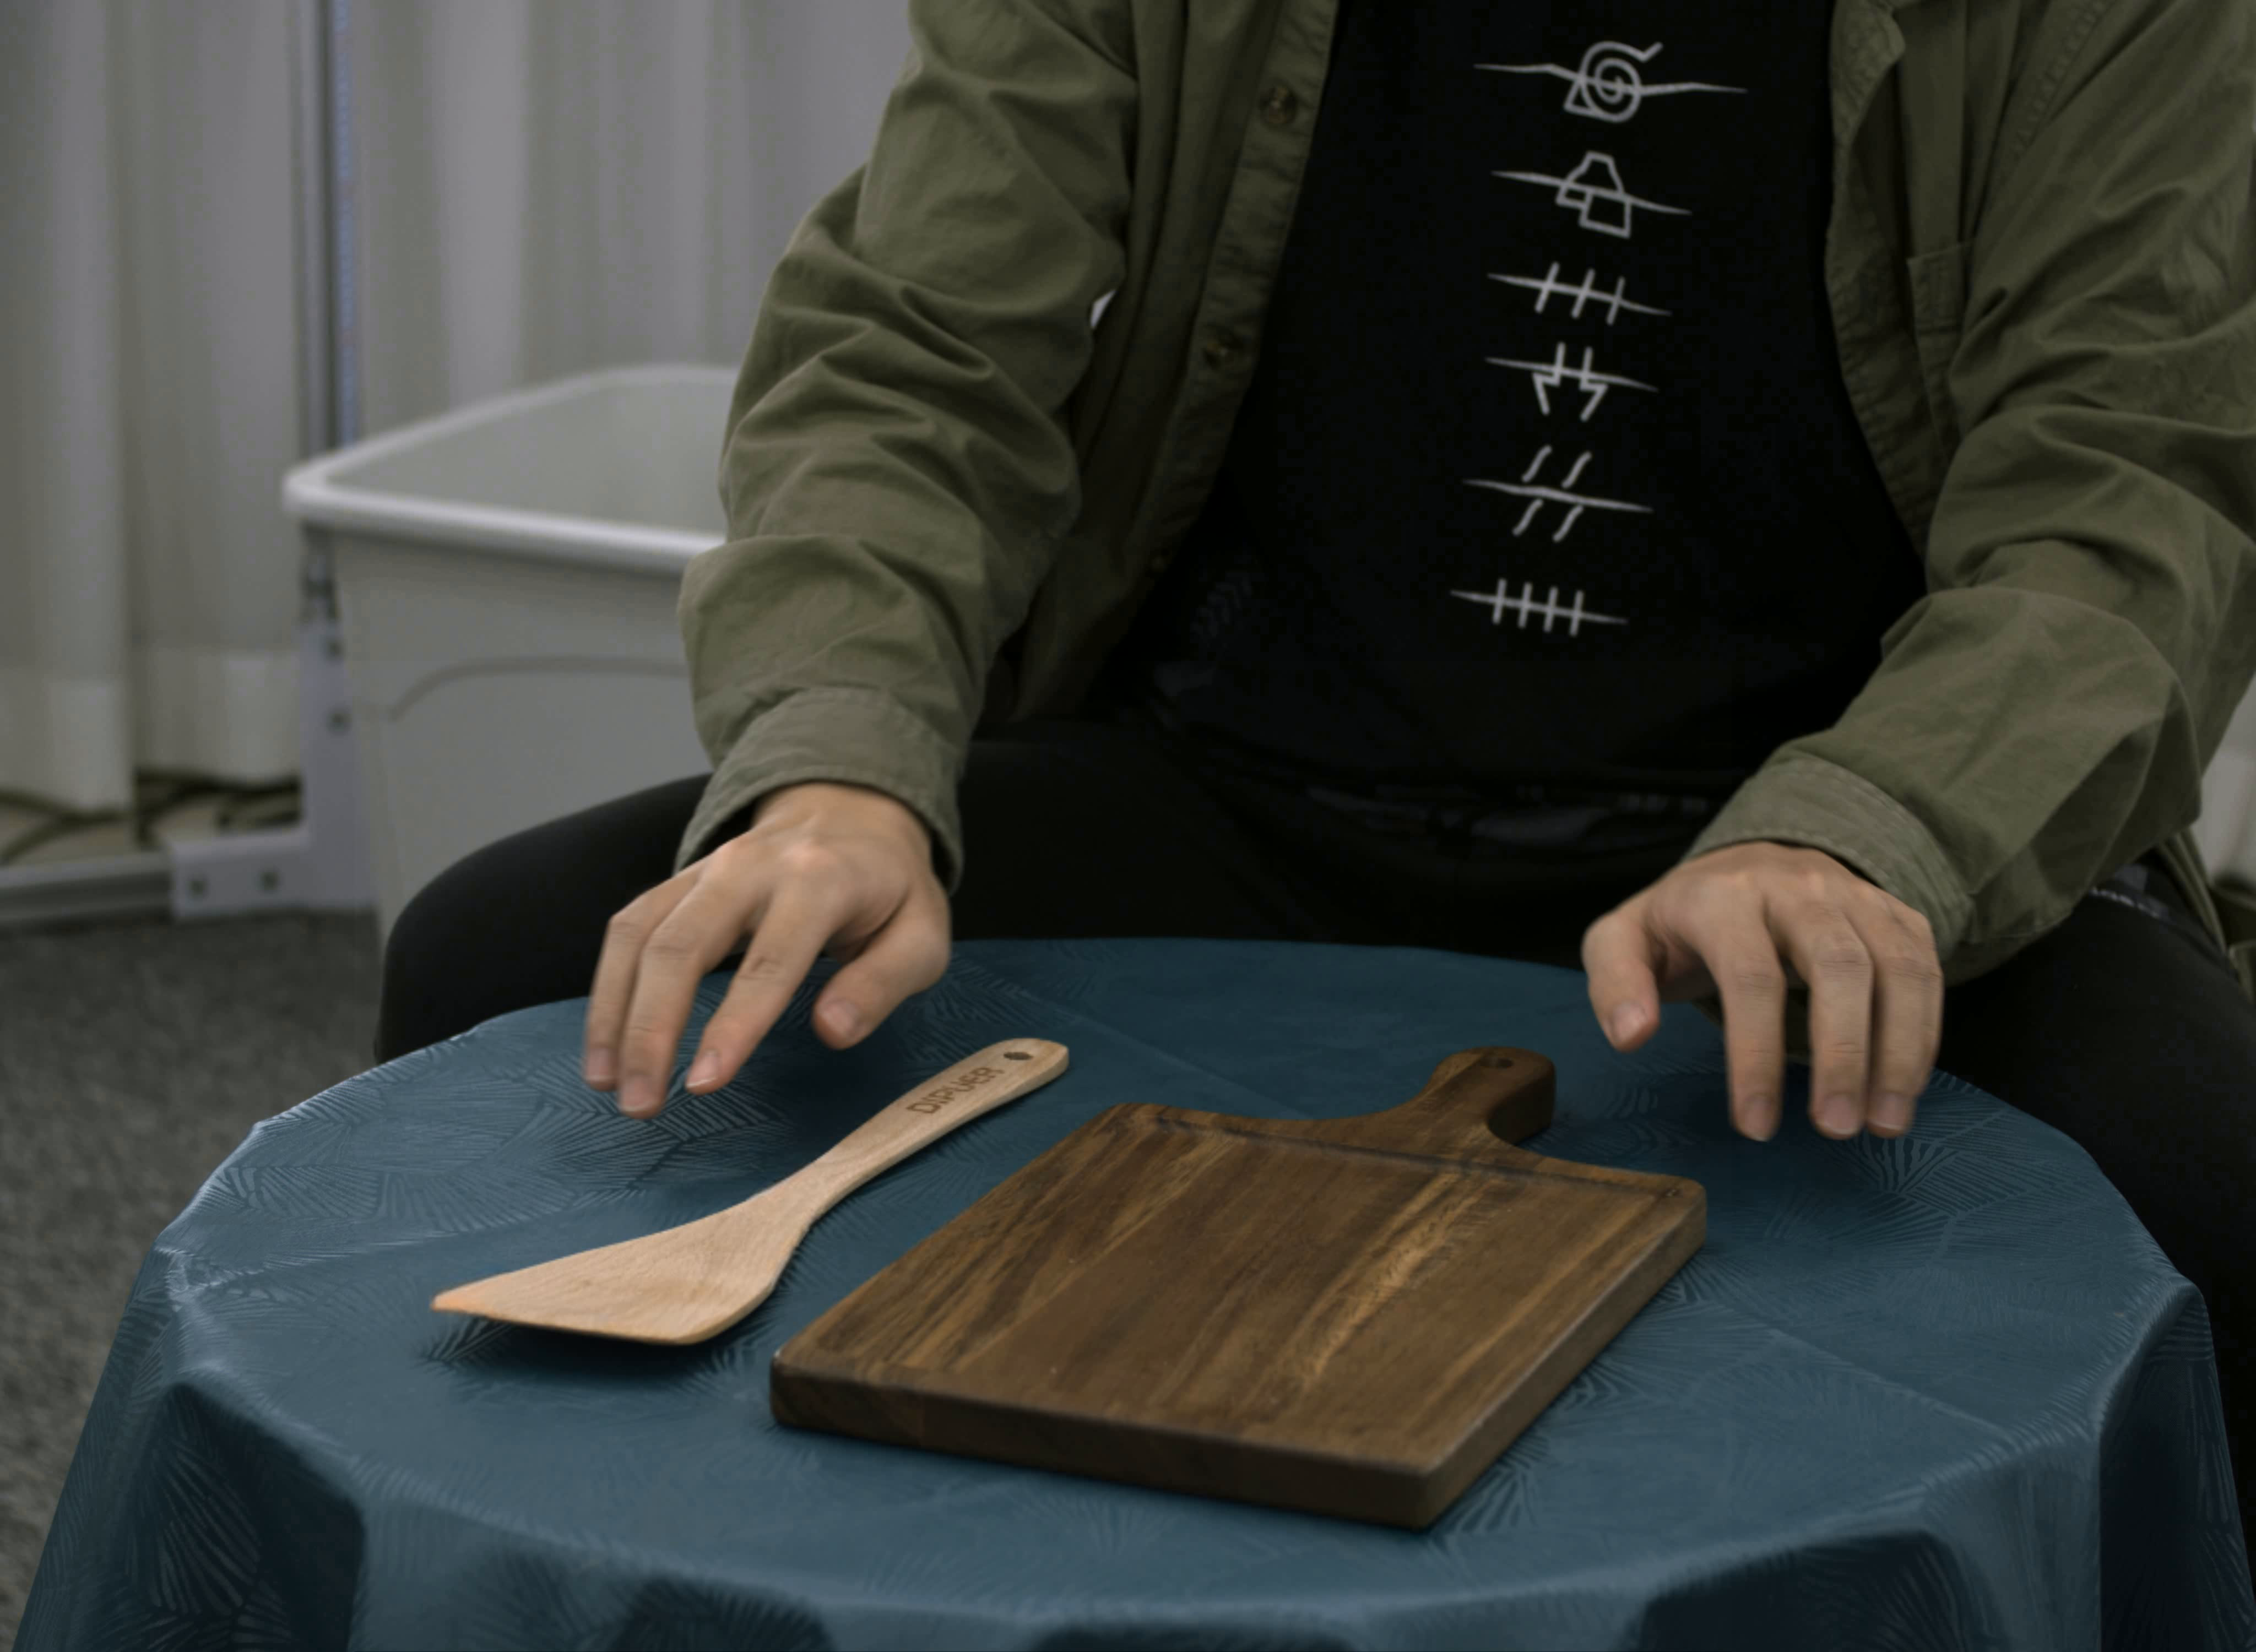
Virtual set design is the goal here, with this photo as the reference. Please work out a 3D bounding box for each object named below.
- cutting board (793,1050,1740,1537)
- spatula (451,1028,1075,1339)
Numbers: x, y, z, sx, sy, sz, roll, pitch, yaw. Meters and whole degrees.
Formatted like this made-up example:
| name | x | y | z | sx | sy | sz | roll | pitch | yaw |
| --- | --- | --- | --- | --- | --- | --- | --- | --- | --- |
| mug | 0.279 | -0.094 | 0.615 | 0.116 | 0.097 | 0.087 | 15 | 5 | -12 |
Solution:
| name | x | y | z | sx | sy | sz | roll | pitch | yaw |
| --- | --- | --- | --- | --- | --- | --- | --- | --- | --- |
| cutting board | 0.066 | 0.124 | 1.549 | 0.199 | 0.023 | 0.353 | 8 | 17 | 23 |
| spatula | -0.092 | 0.106 | 1.618 | 0.079 | 0.016 | 0.328 | 8 | 17 | 23 |
